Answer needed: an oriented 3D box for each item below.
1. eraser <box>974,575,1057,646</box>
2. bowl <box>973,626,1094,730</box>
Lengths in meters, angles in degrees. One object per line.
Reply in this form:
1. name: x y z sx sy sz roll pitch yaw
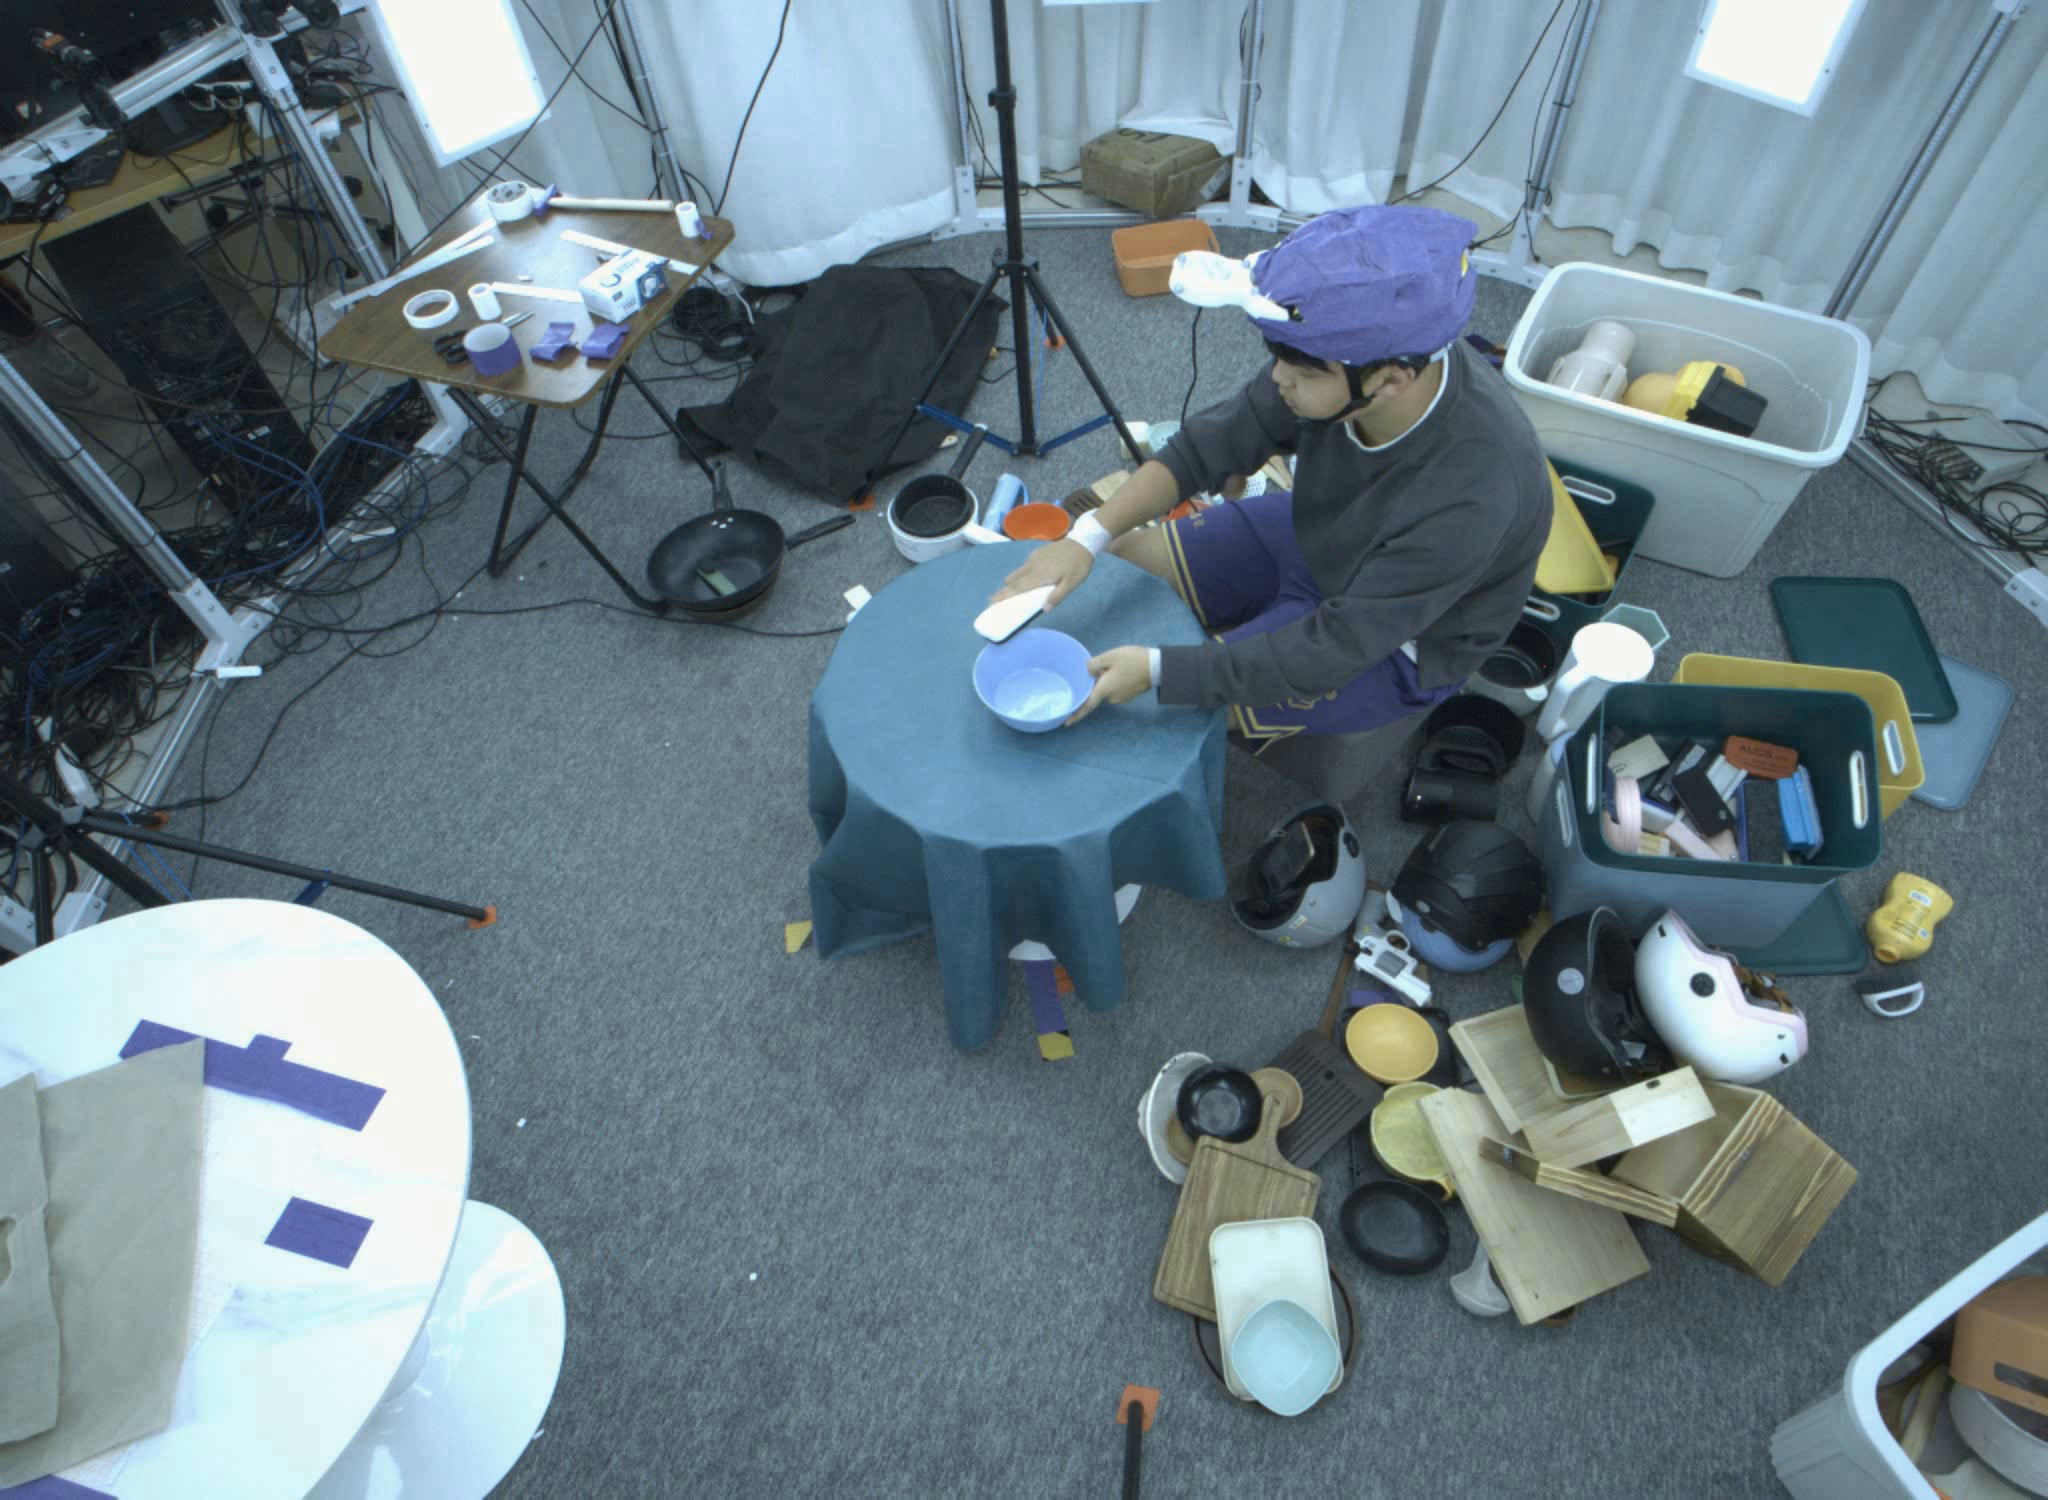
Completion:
1. eraser: -0.012 -0.209 1.820 0.132 0.035 0.062 -41 43 -16
2. bowl: 0.015 -0.095 1.804 0.176 0.071 0.174 1 56 0
